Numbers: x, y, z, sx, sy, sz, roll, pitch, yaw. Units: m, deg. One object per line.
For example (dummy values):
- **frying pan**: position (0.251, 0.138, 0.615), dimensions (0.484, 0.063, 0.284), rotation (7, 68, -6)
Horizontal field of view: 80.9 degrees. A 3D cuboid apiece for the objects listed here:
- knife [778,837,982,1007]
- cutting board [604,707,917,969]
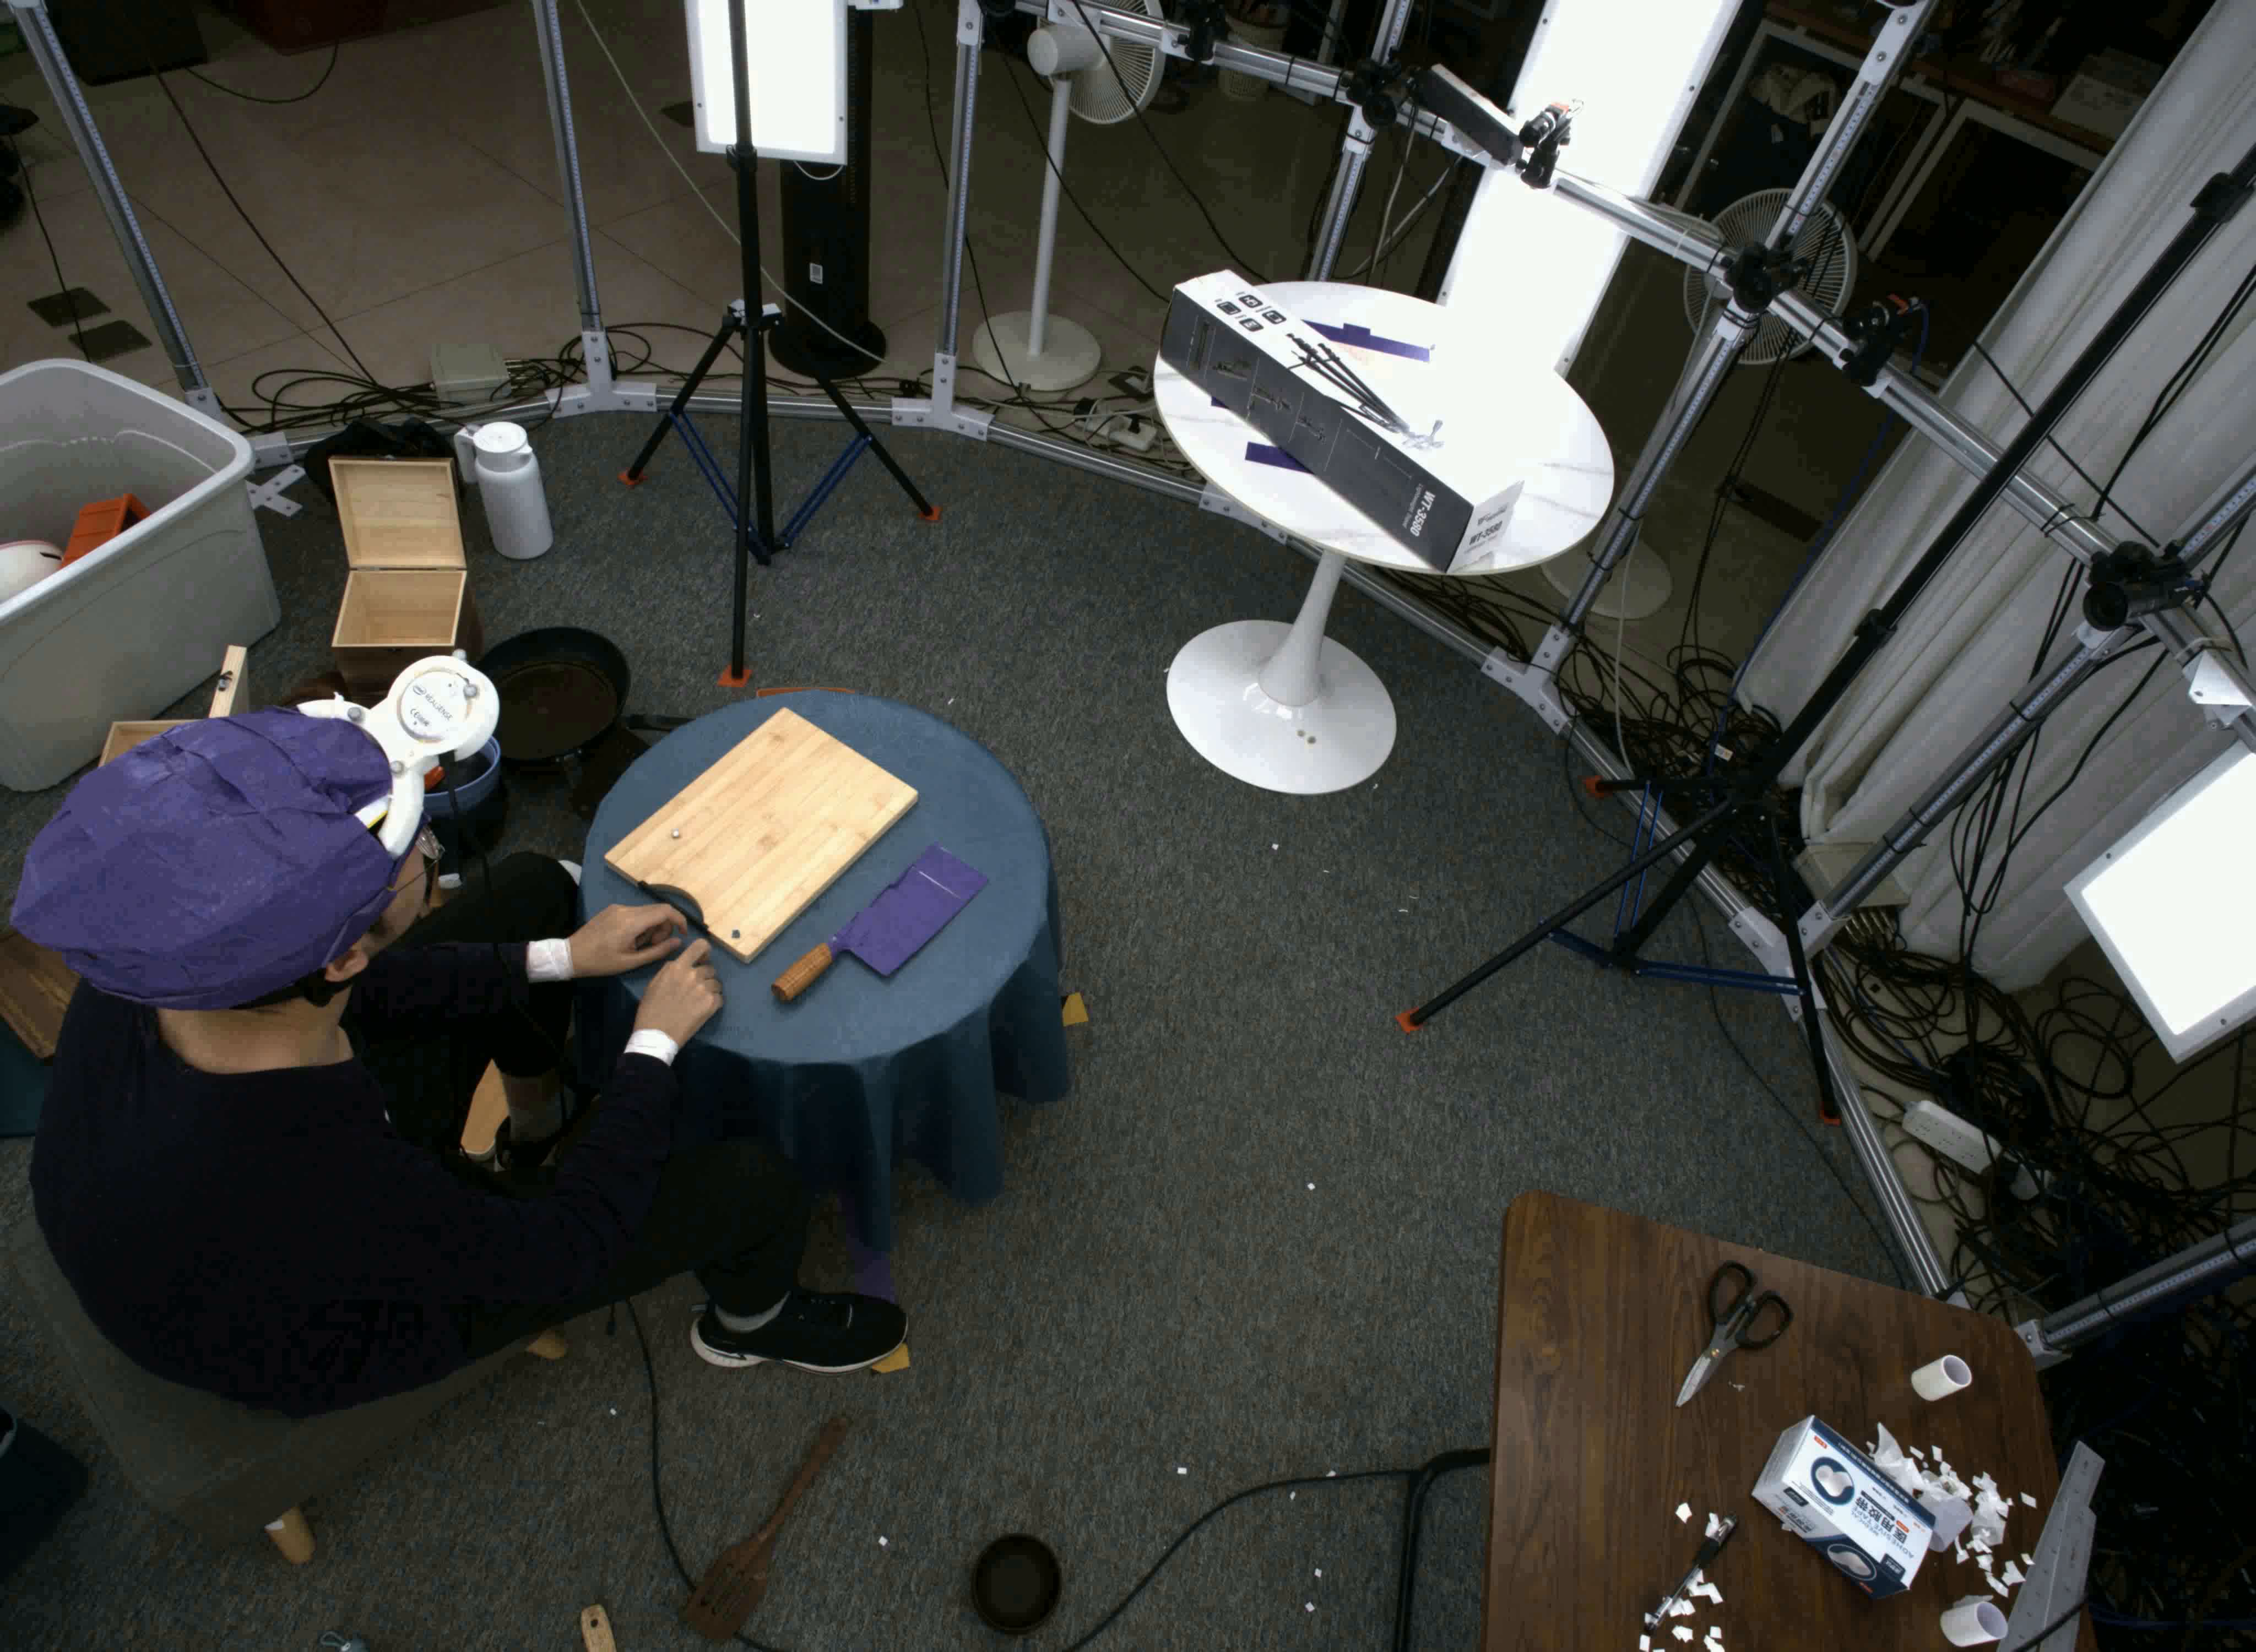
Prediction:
- **knife**: position (-0.306, 0.129, 1.653), dimensions (0.102, 0.033, 0.314), rotation (33, 53, 12)
- **cutting board**: position (-0.478, 0.004, 1.708), dimensions (0.246, 0.024, 0.348), rotation (32, 53, 10)
